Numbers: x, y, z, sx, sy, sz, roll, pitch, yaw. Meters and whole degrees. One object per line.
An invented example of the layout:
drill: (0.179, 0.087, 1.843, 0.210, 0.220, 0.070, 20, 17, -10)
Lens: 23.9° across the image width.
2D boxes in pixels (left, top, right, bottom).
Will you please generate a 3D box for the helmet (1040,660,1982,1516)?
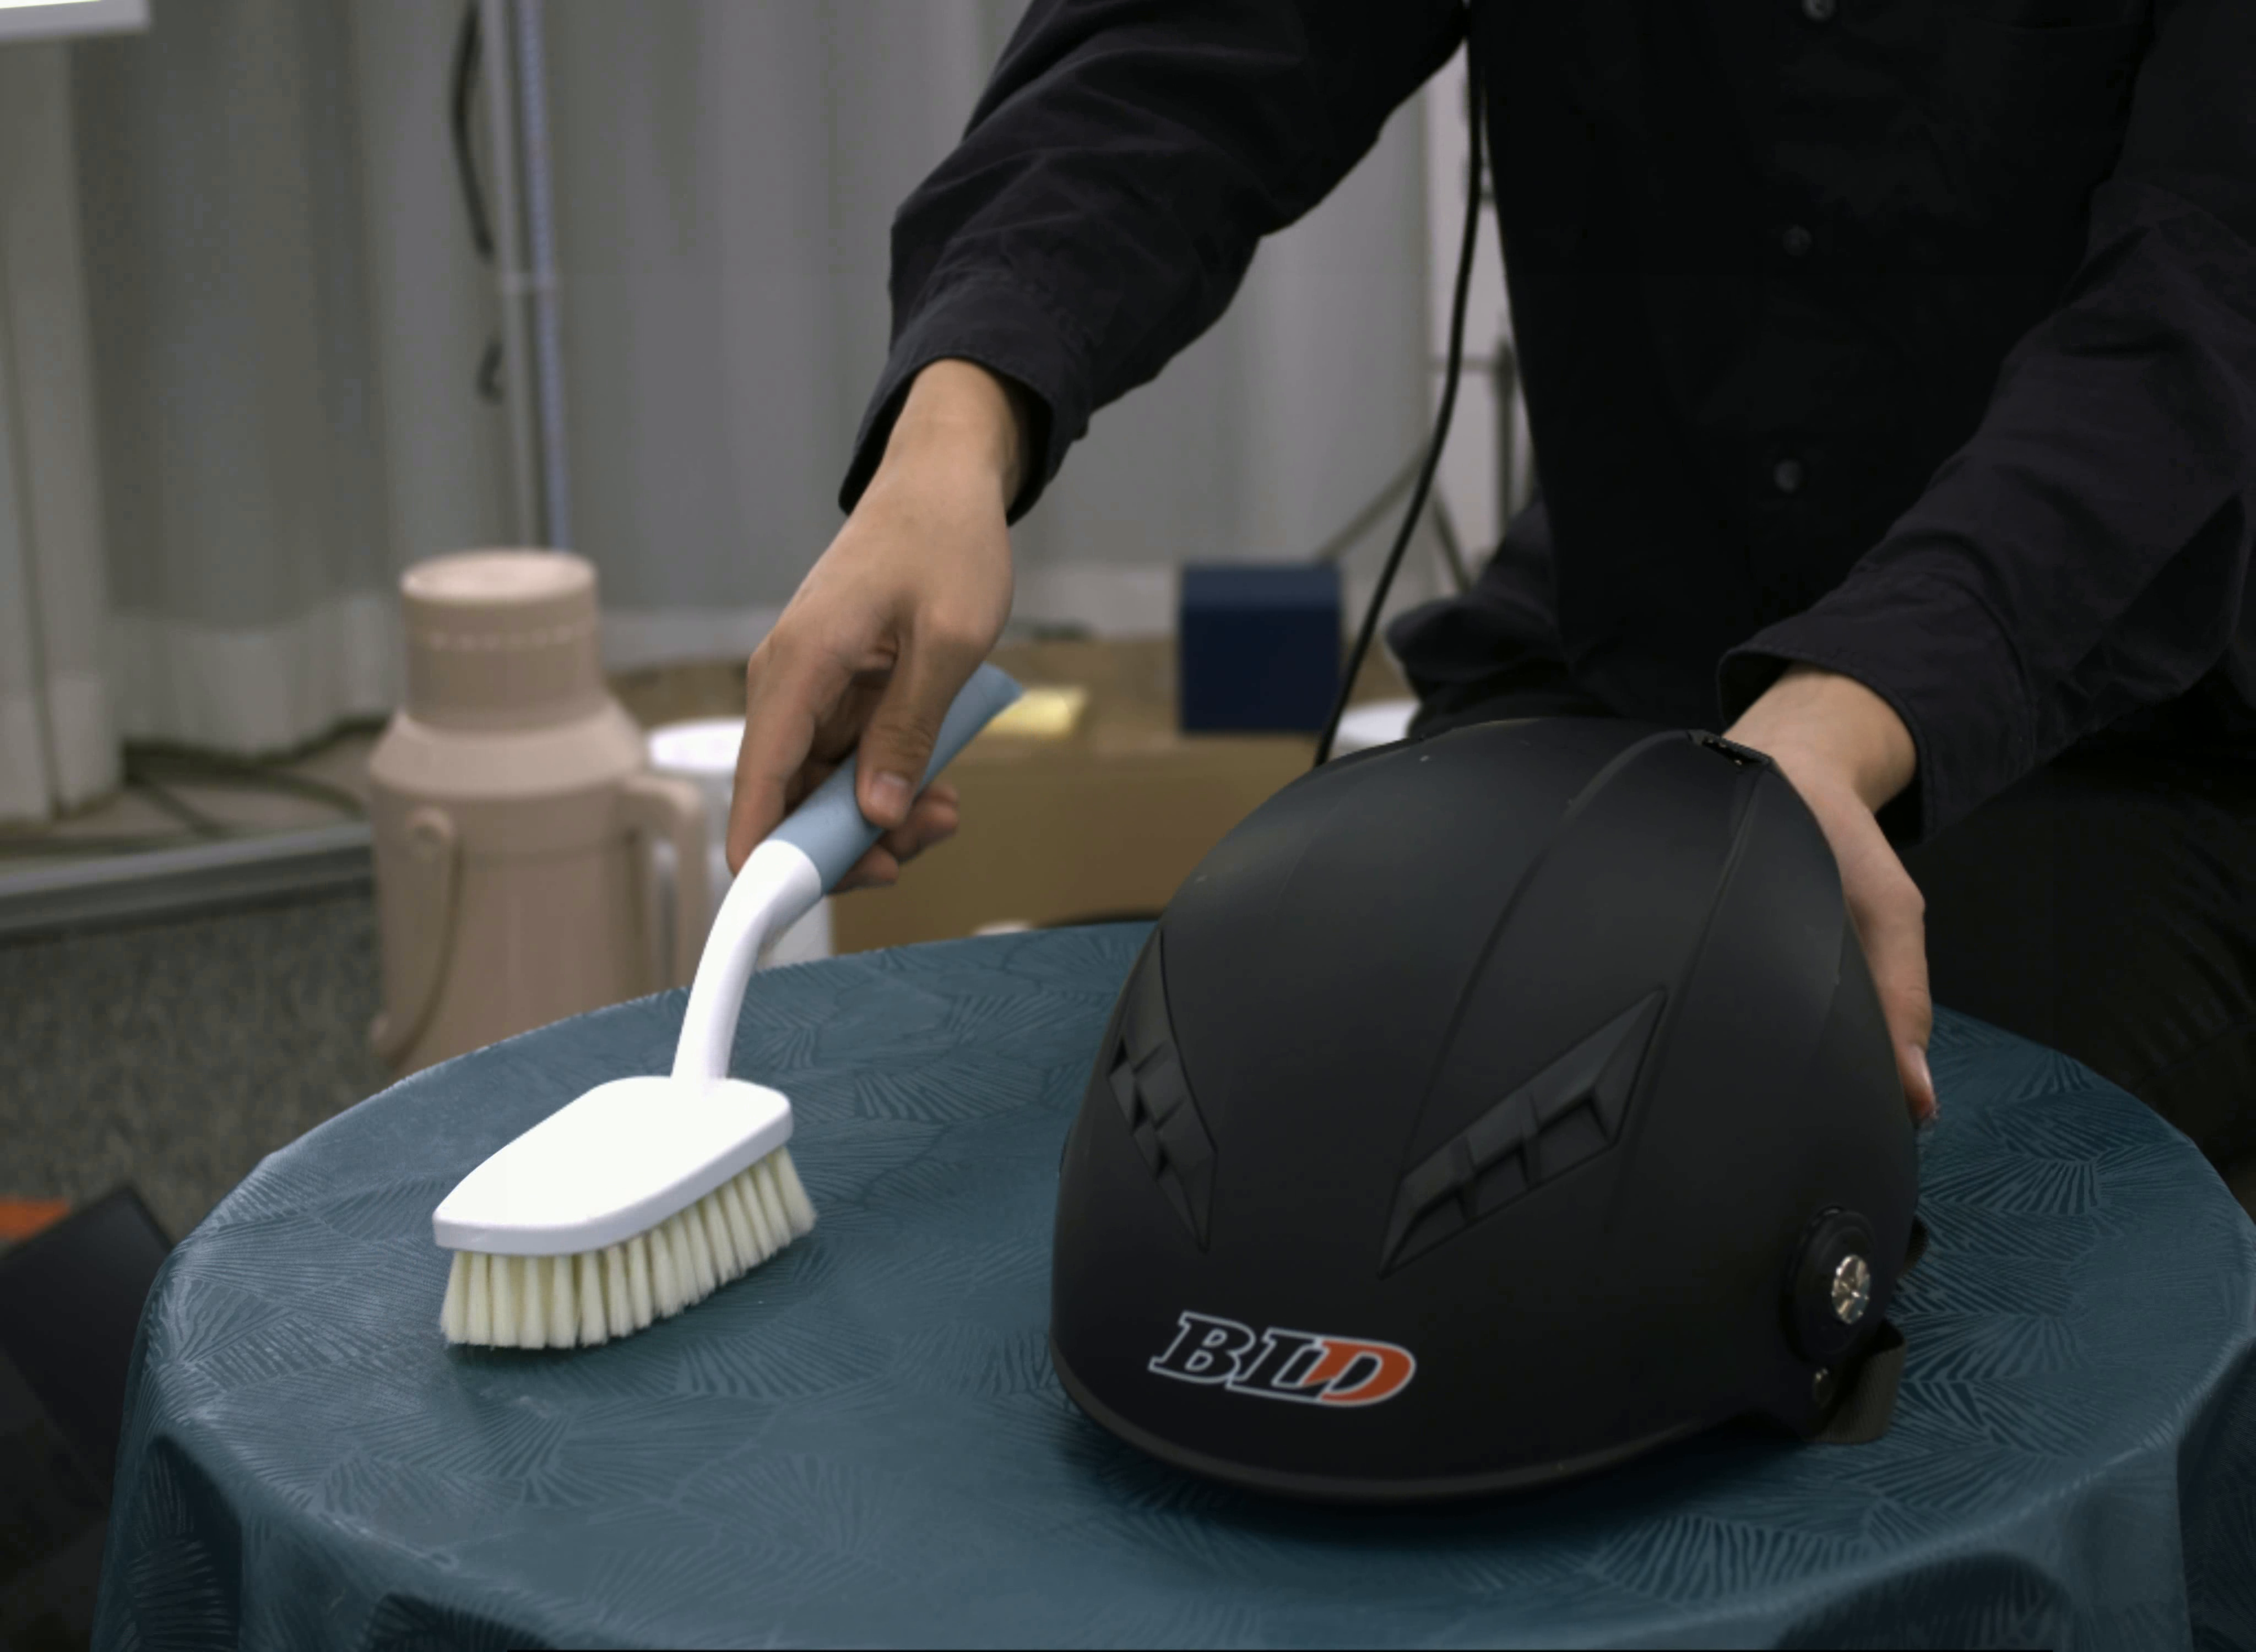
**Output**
helmet: (0.099, 0.059, 1.410, 0.251, 0.172, 0.273, 6, 25, 29)

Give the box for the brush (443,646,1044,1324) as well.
brush: (-0.098, 0.060, 1.580, 0.083, 0.085, 0.322, 35, 42, 7)
